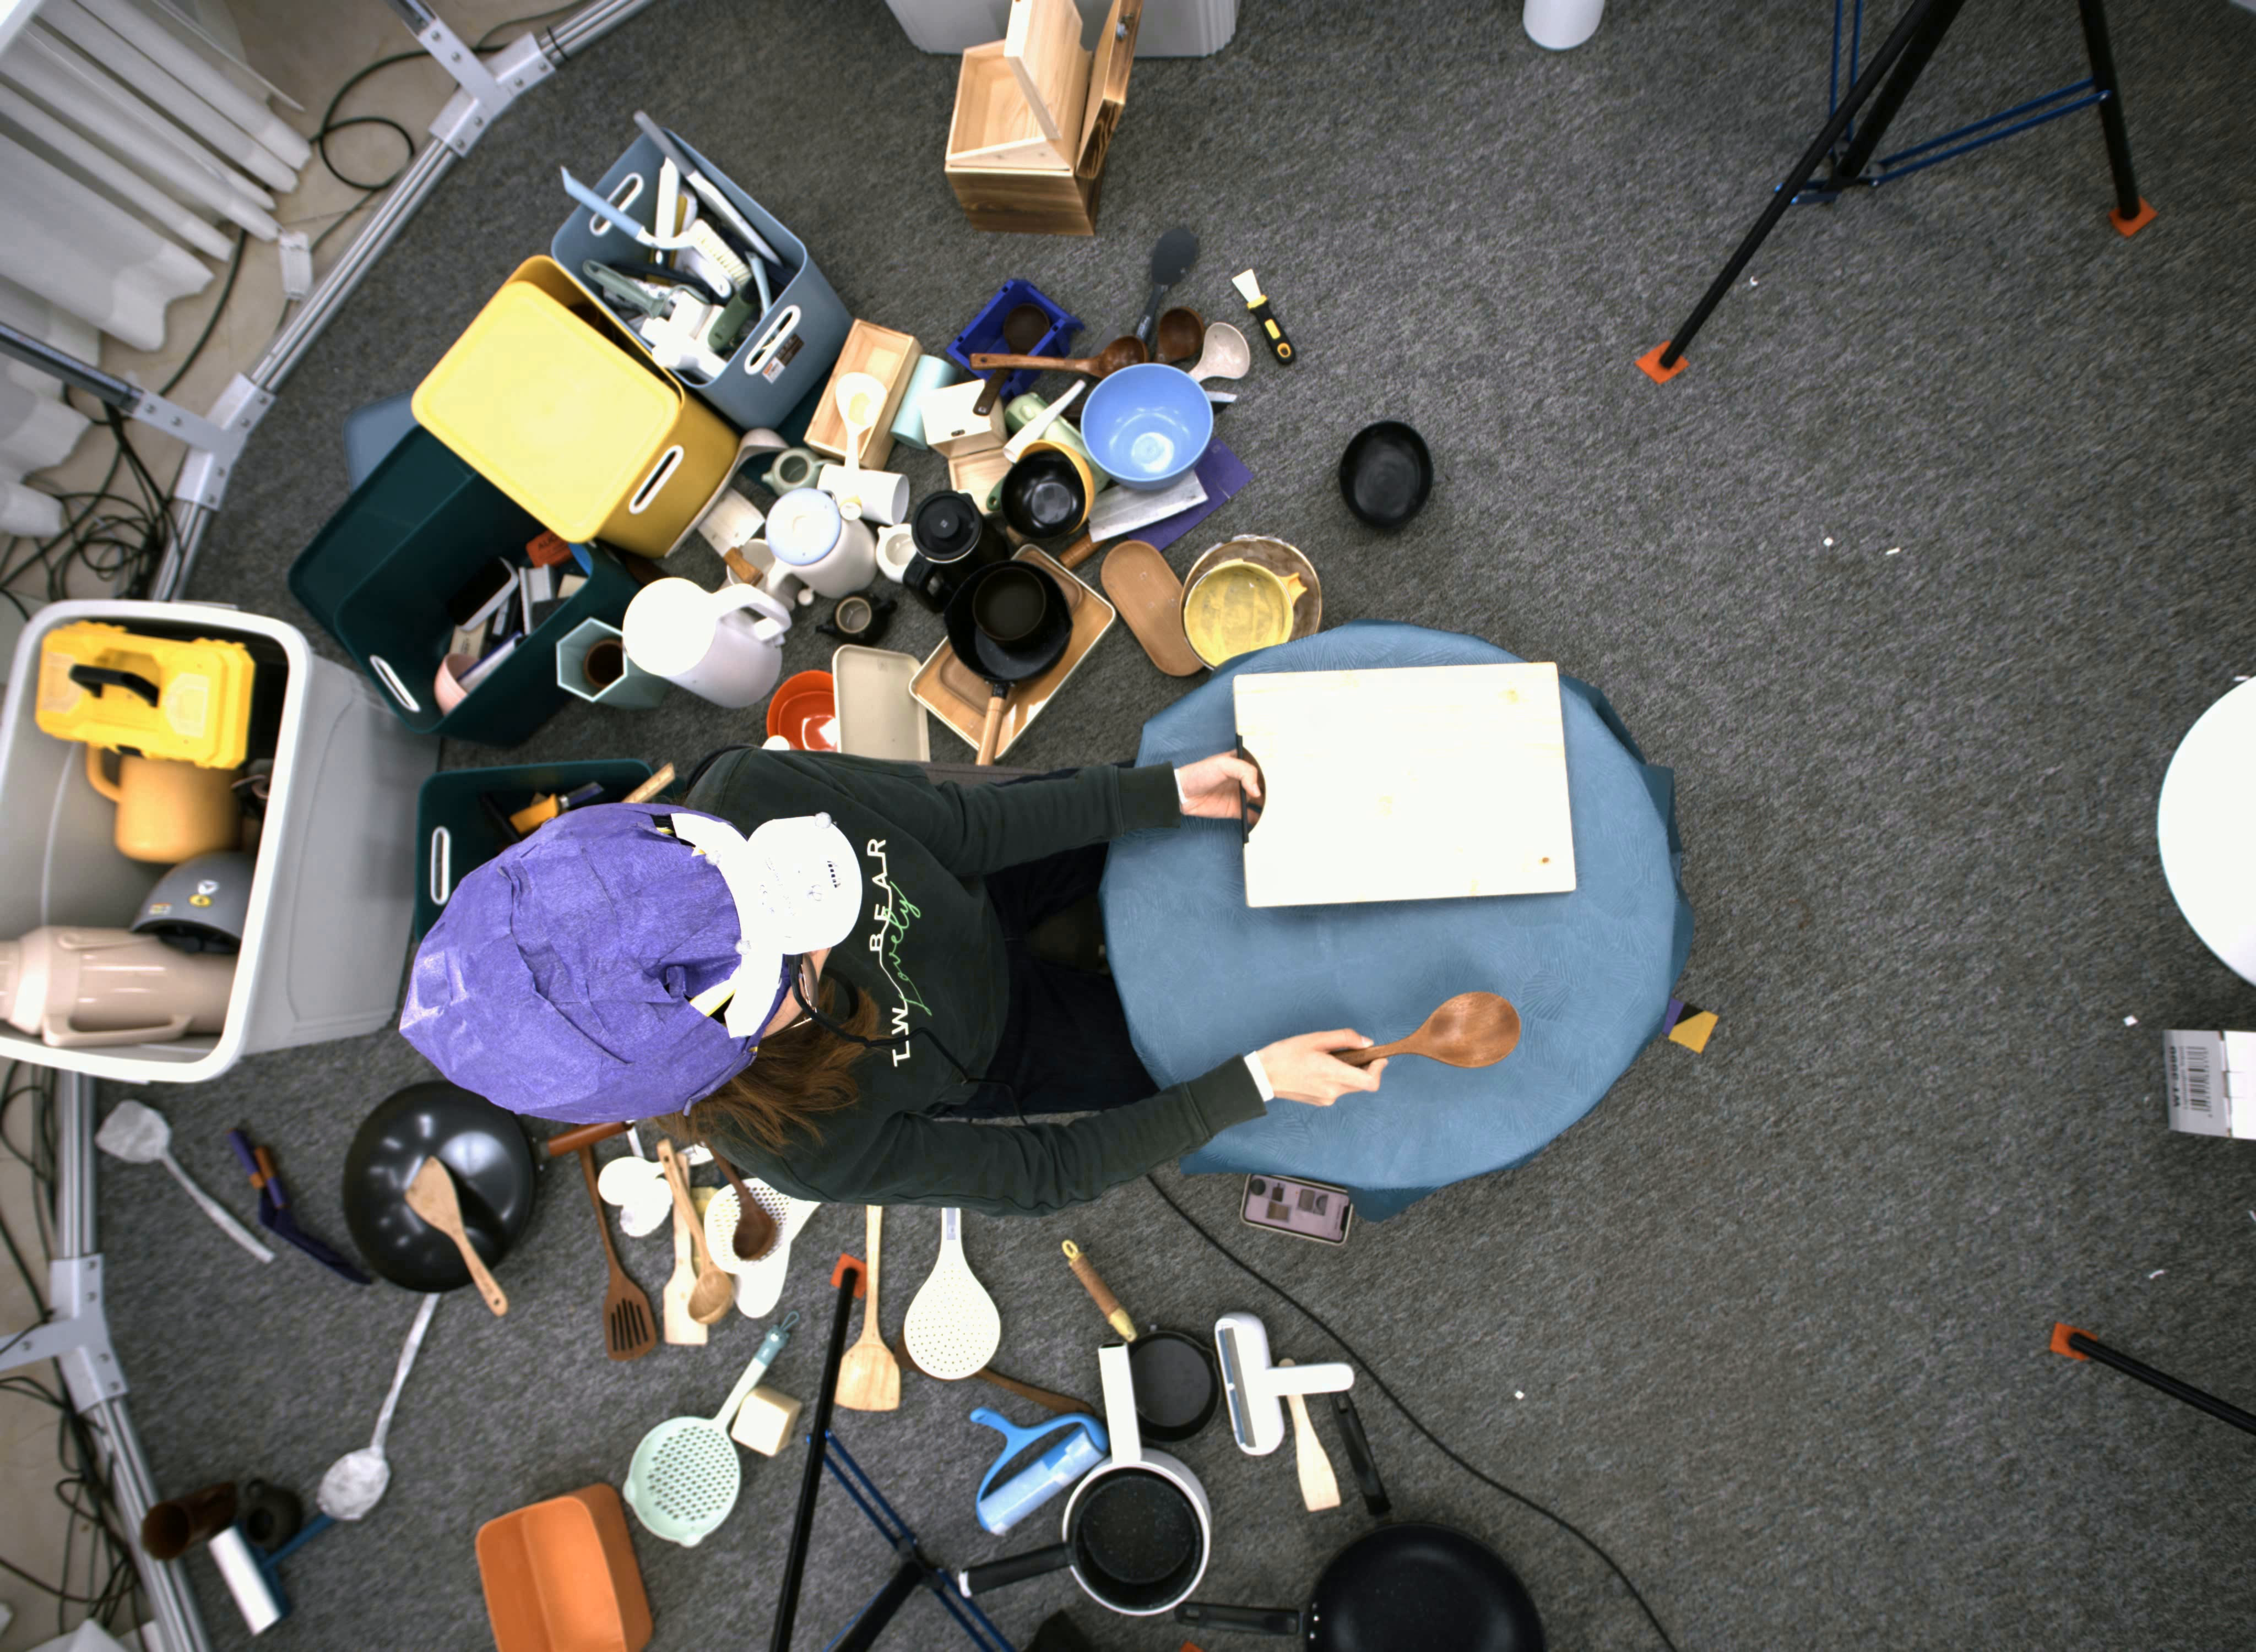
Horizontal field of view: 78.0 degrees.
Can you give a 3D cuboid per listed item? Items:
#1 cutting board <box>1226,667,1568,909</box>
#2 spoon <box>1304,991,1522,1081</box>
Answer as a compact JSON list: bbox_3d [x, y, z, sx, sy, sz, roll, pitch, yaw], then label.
[{"bbox_3d":[0.280,-0.043,1.428,0.349,0.024,0.249,-4,85,-1],"label":"cutting board"},{"bbox_3d":[0.278,0.214,1.356,0.217,0.017,0.074,-15,73,11],"label":"spoon"}]
